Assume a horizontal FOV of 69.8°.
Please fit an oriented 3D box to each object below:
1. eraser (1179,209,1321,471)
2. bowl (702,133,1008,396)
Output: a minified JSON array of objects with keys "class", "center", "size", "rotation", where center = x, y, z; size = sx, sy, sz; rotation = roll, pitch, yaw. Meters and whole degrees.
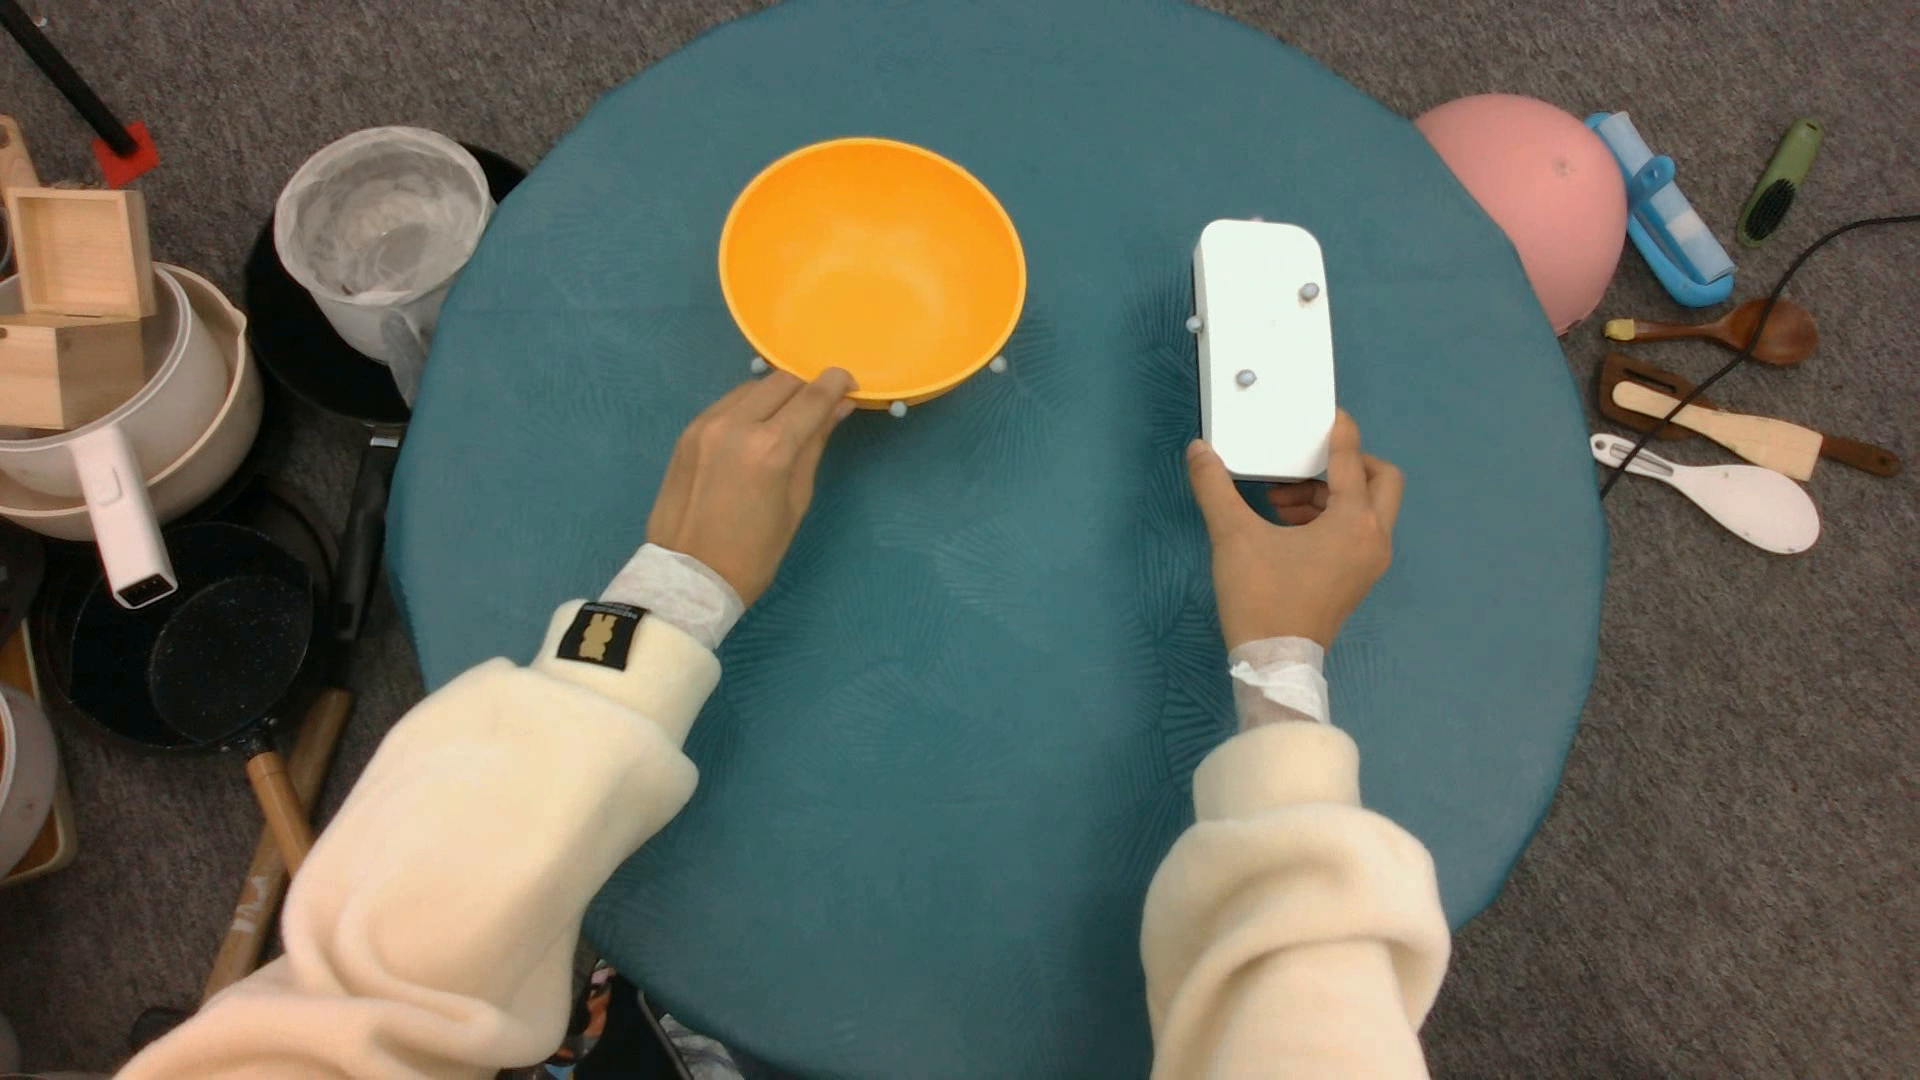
[{"class":"eraser","center":[0.137,-0.097,0.666],"size":[0.063,0.034,0.131],"rotation":[3,74,-8]},{"class":"bowl","center":[-0.052,-0.124,0.674],"size":[0.145,0.060,0.146],"rotation":[3,64,-7]}]
